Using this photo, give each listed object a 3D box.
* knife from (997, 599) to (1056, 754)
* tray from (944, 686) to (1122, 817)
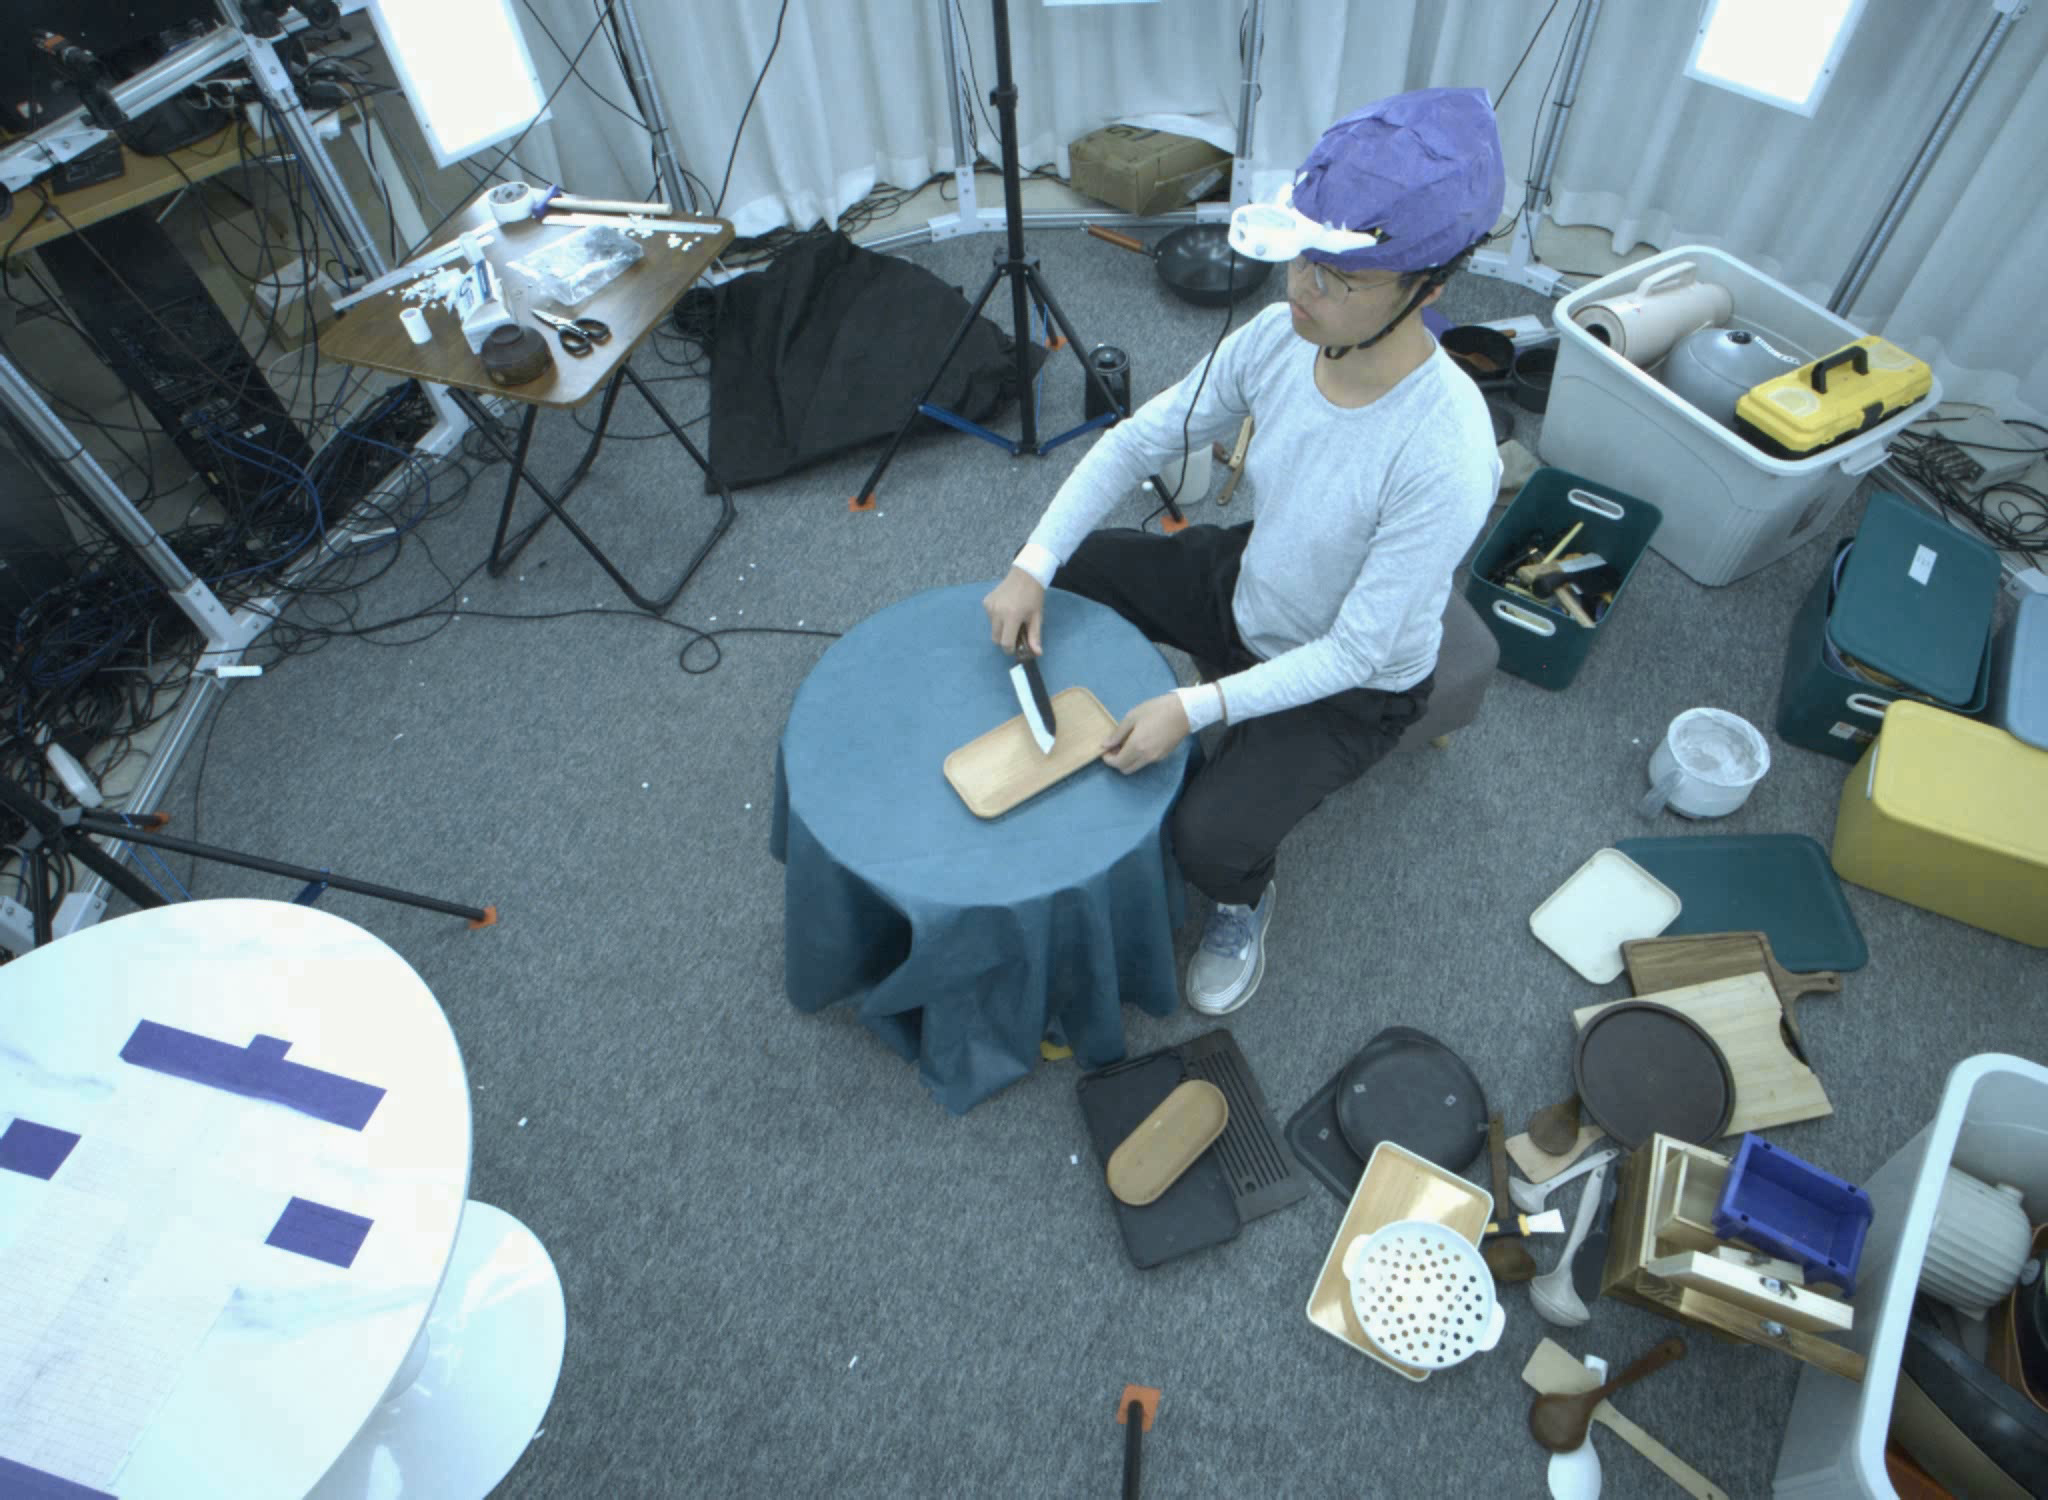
[{"bbox_3d":[0.002,-0.112,1.814,0.050,0.020,0.285,-29,55,21],"label":"knife"},{"bbox_3d":[0.014,0.001,1.777,0.252,0.023,0.128,-28,61,-15],"label":"tray"}]
